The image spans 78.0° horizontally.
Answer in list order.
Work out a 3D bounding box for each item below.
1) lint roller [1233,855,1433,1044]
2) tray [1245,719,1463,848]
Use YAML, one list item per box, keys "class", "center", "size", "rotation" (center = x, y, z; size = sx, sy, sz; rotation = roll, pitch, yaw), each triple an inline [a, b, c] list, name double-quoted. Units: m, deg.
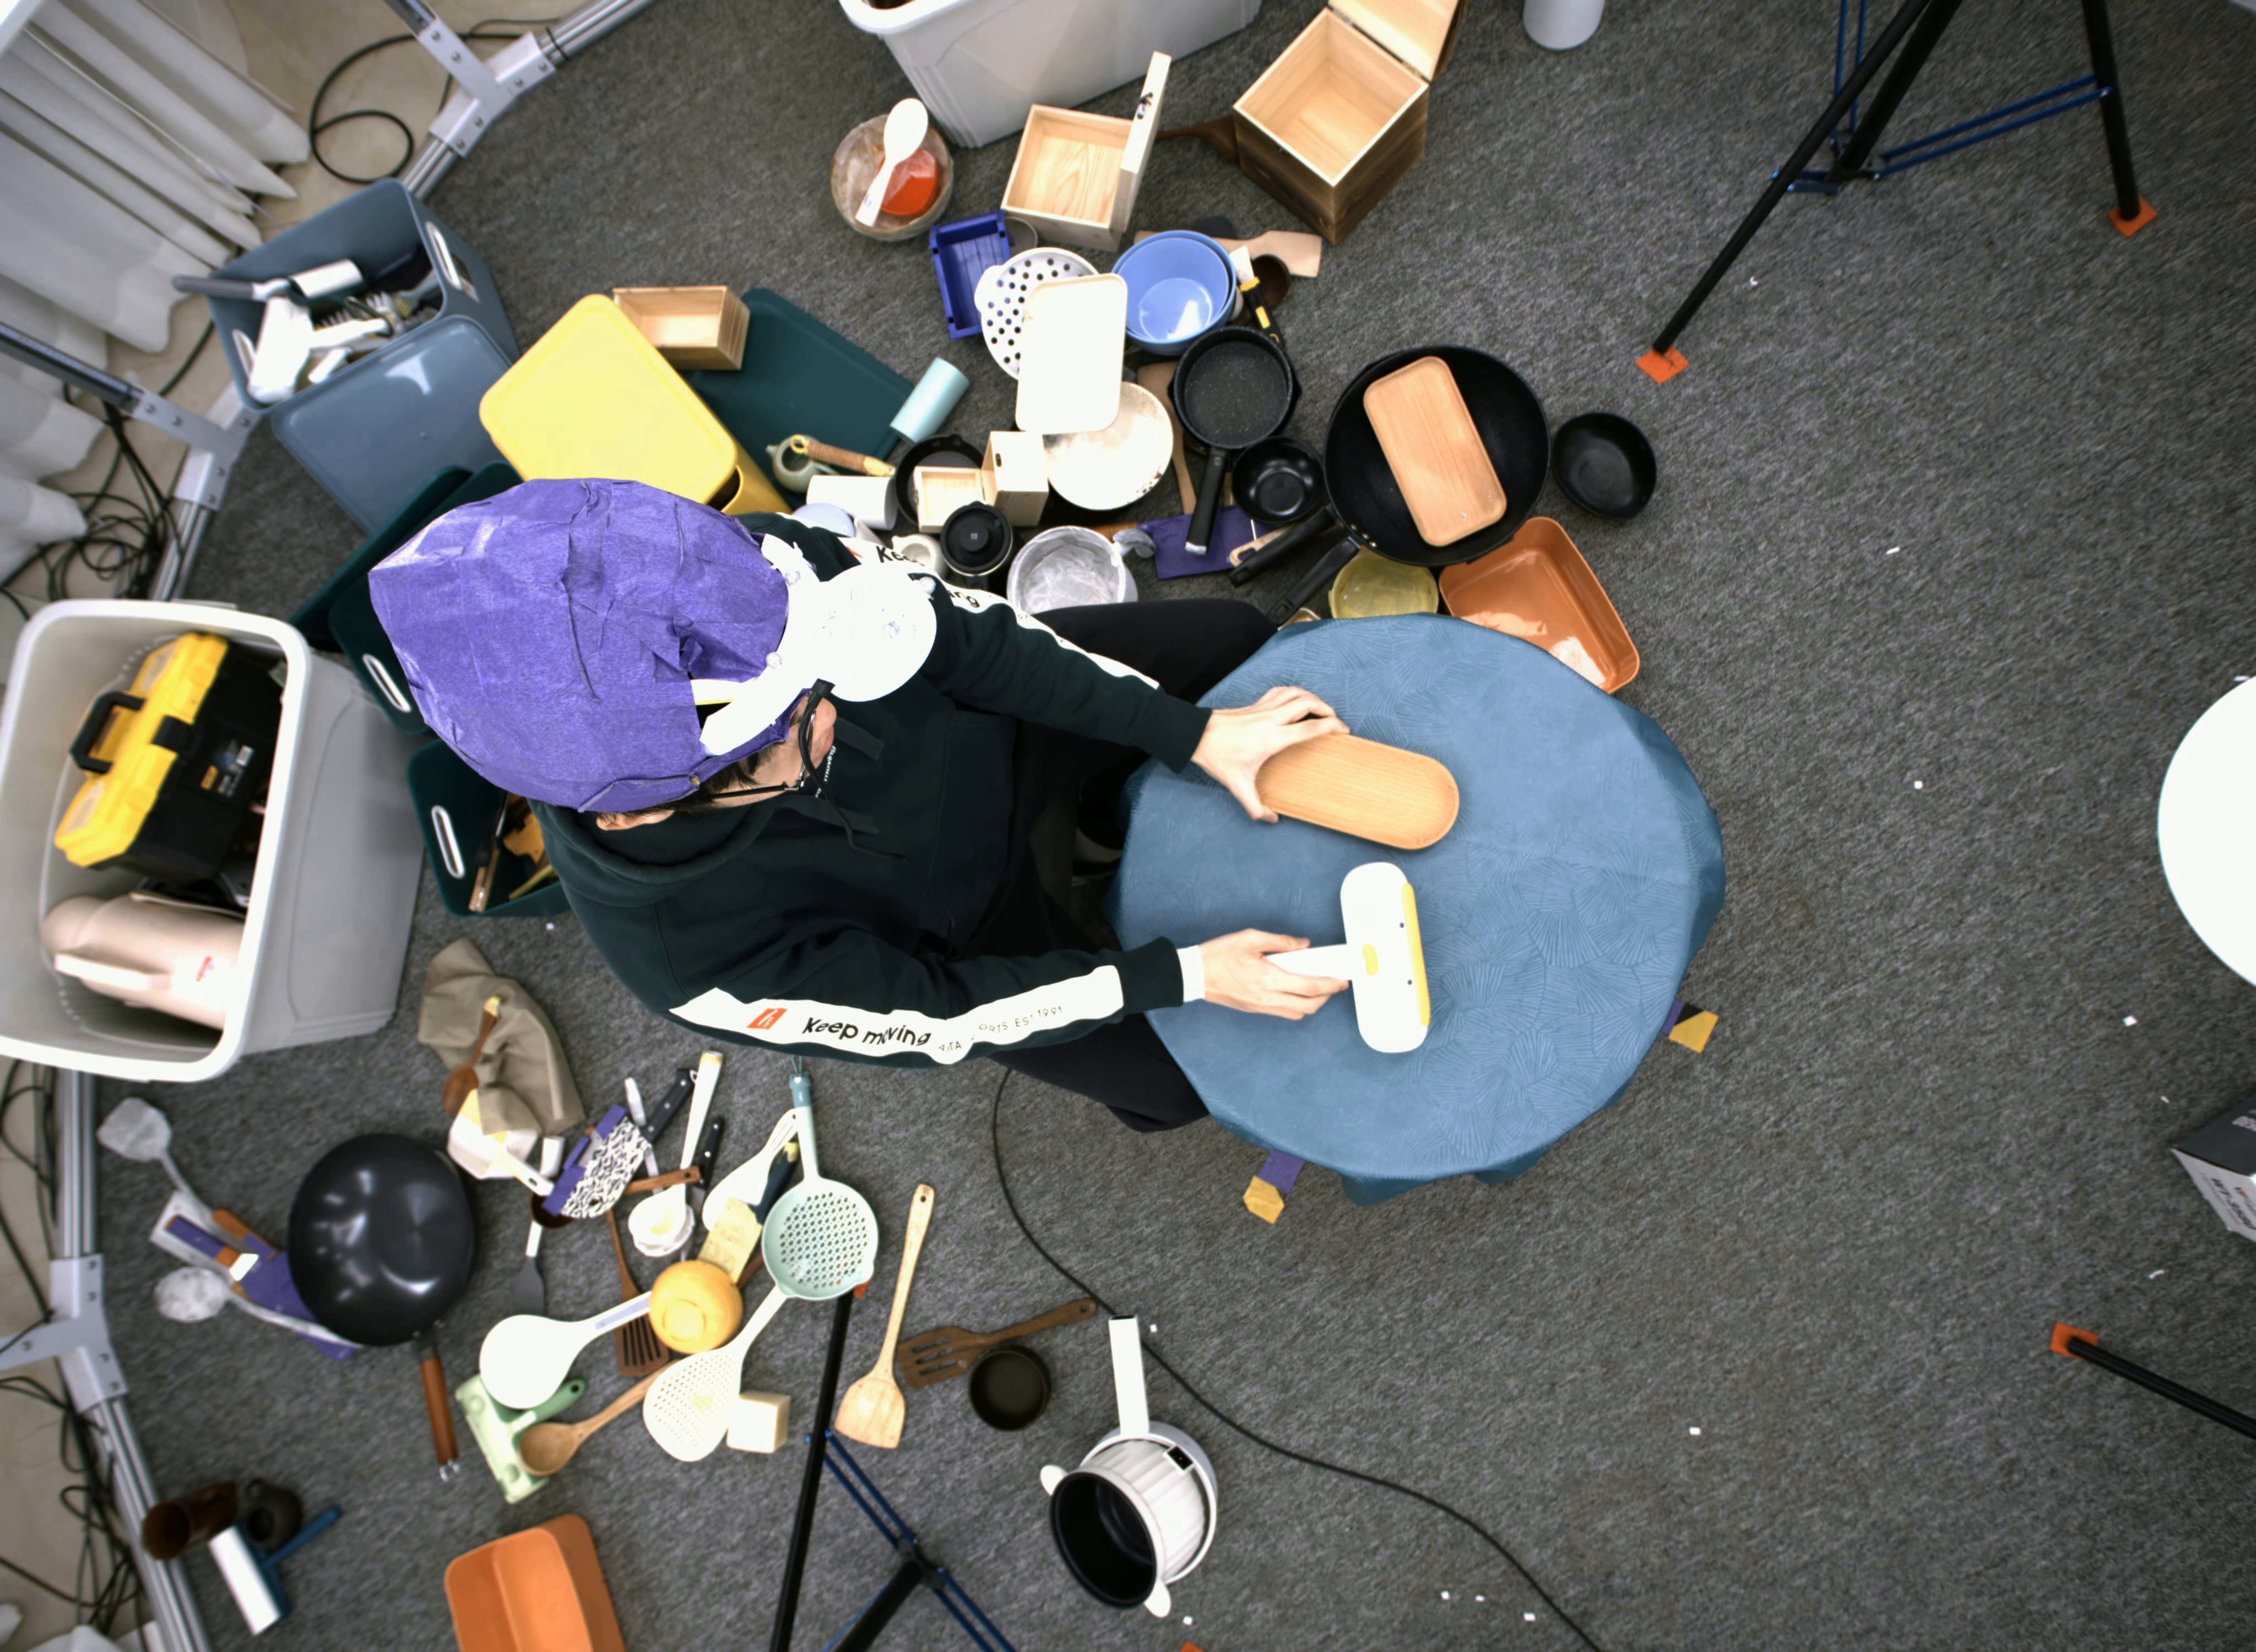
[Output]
- class: "lint roller"
  center: [0.203, 0.137, 1.417]
  size: [0.194, 0.073, 0.193]
  rotation: [-13, 93, 24]
- class: "tray"
  center: [0.236, -0.046, 1.448]
  size: [0.231, 0.020, 0.102]
  rotation: [15, 94, 11]
